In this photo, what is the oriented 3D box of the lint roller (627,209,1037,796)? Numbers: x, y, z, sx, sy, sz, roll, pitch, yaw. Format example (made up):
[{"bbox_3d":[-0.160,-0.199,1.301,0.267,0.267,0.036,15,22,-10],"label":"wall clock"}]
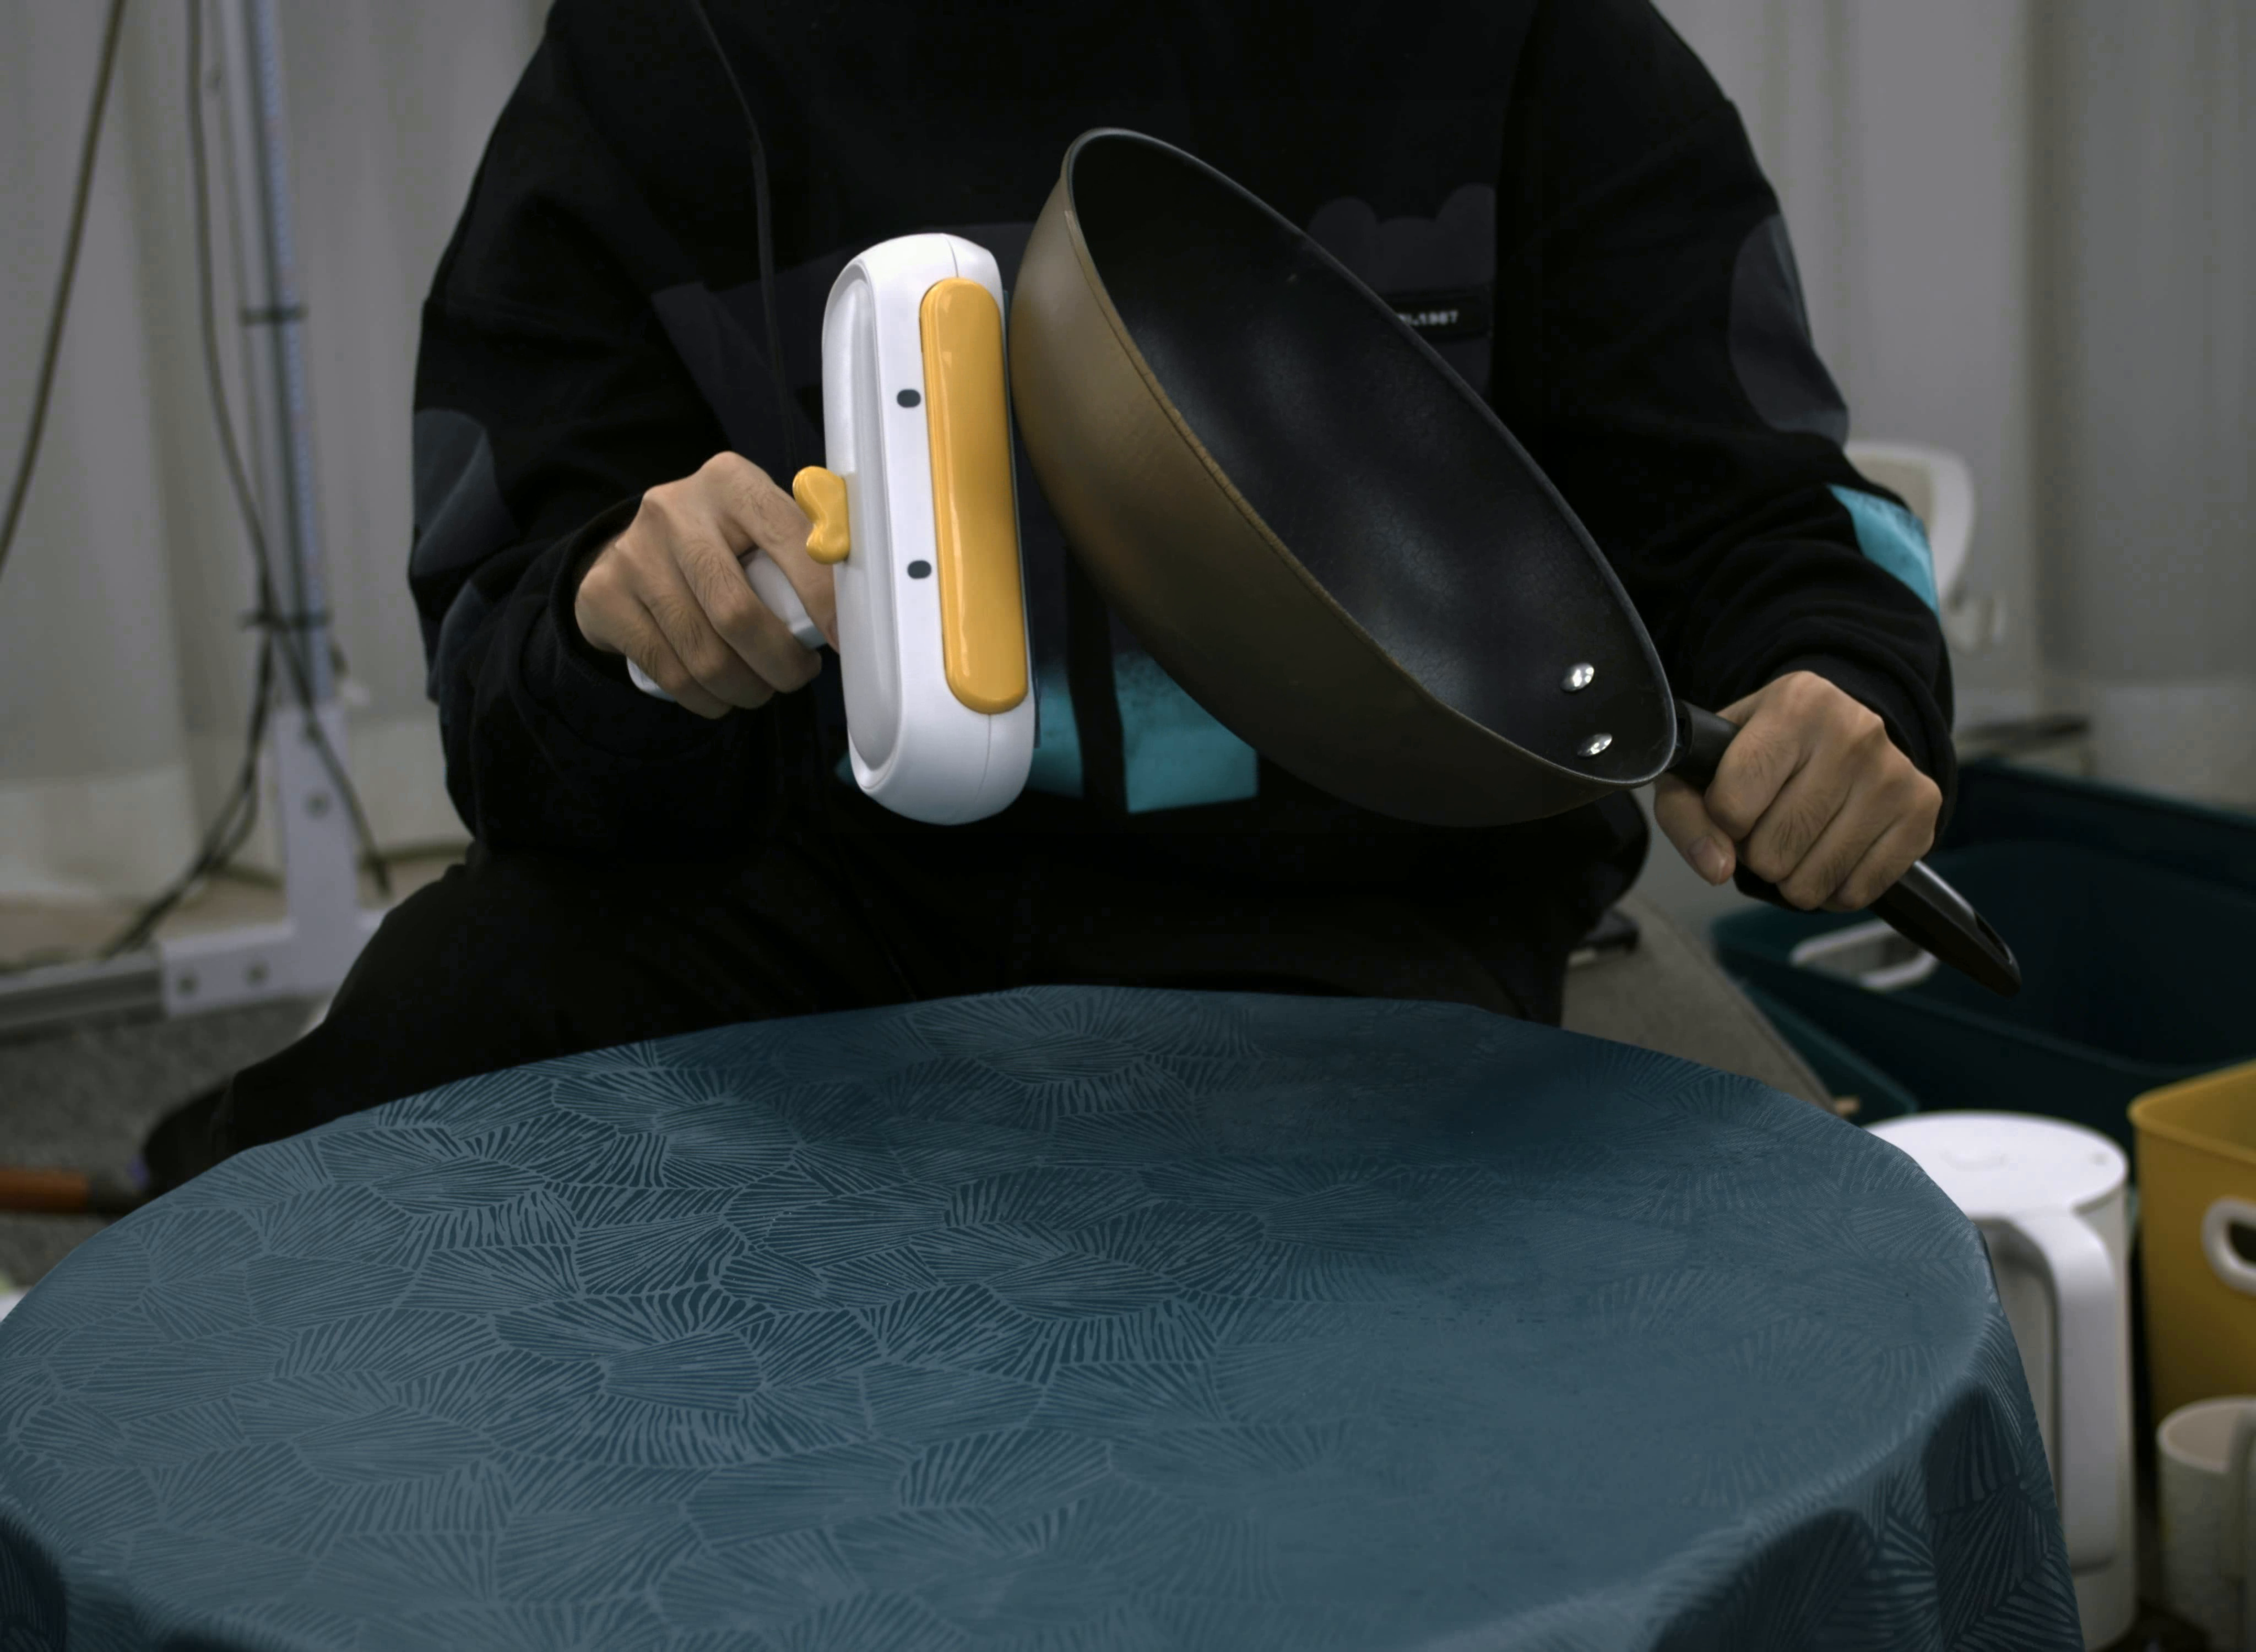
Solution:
[{"bbox_3d":[-0.100,-0.084,1.796,0.073,0.195,0.191,1,-21,-31],"label":"lint roller"}]

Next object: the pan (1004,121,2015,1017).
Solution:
[{"bbox_3d":[0.117,-0.049,1.819,0.458,0.086,0.292,37,22,-26],"label":"pan"}]
